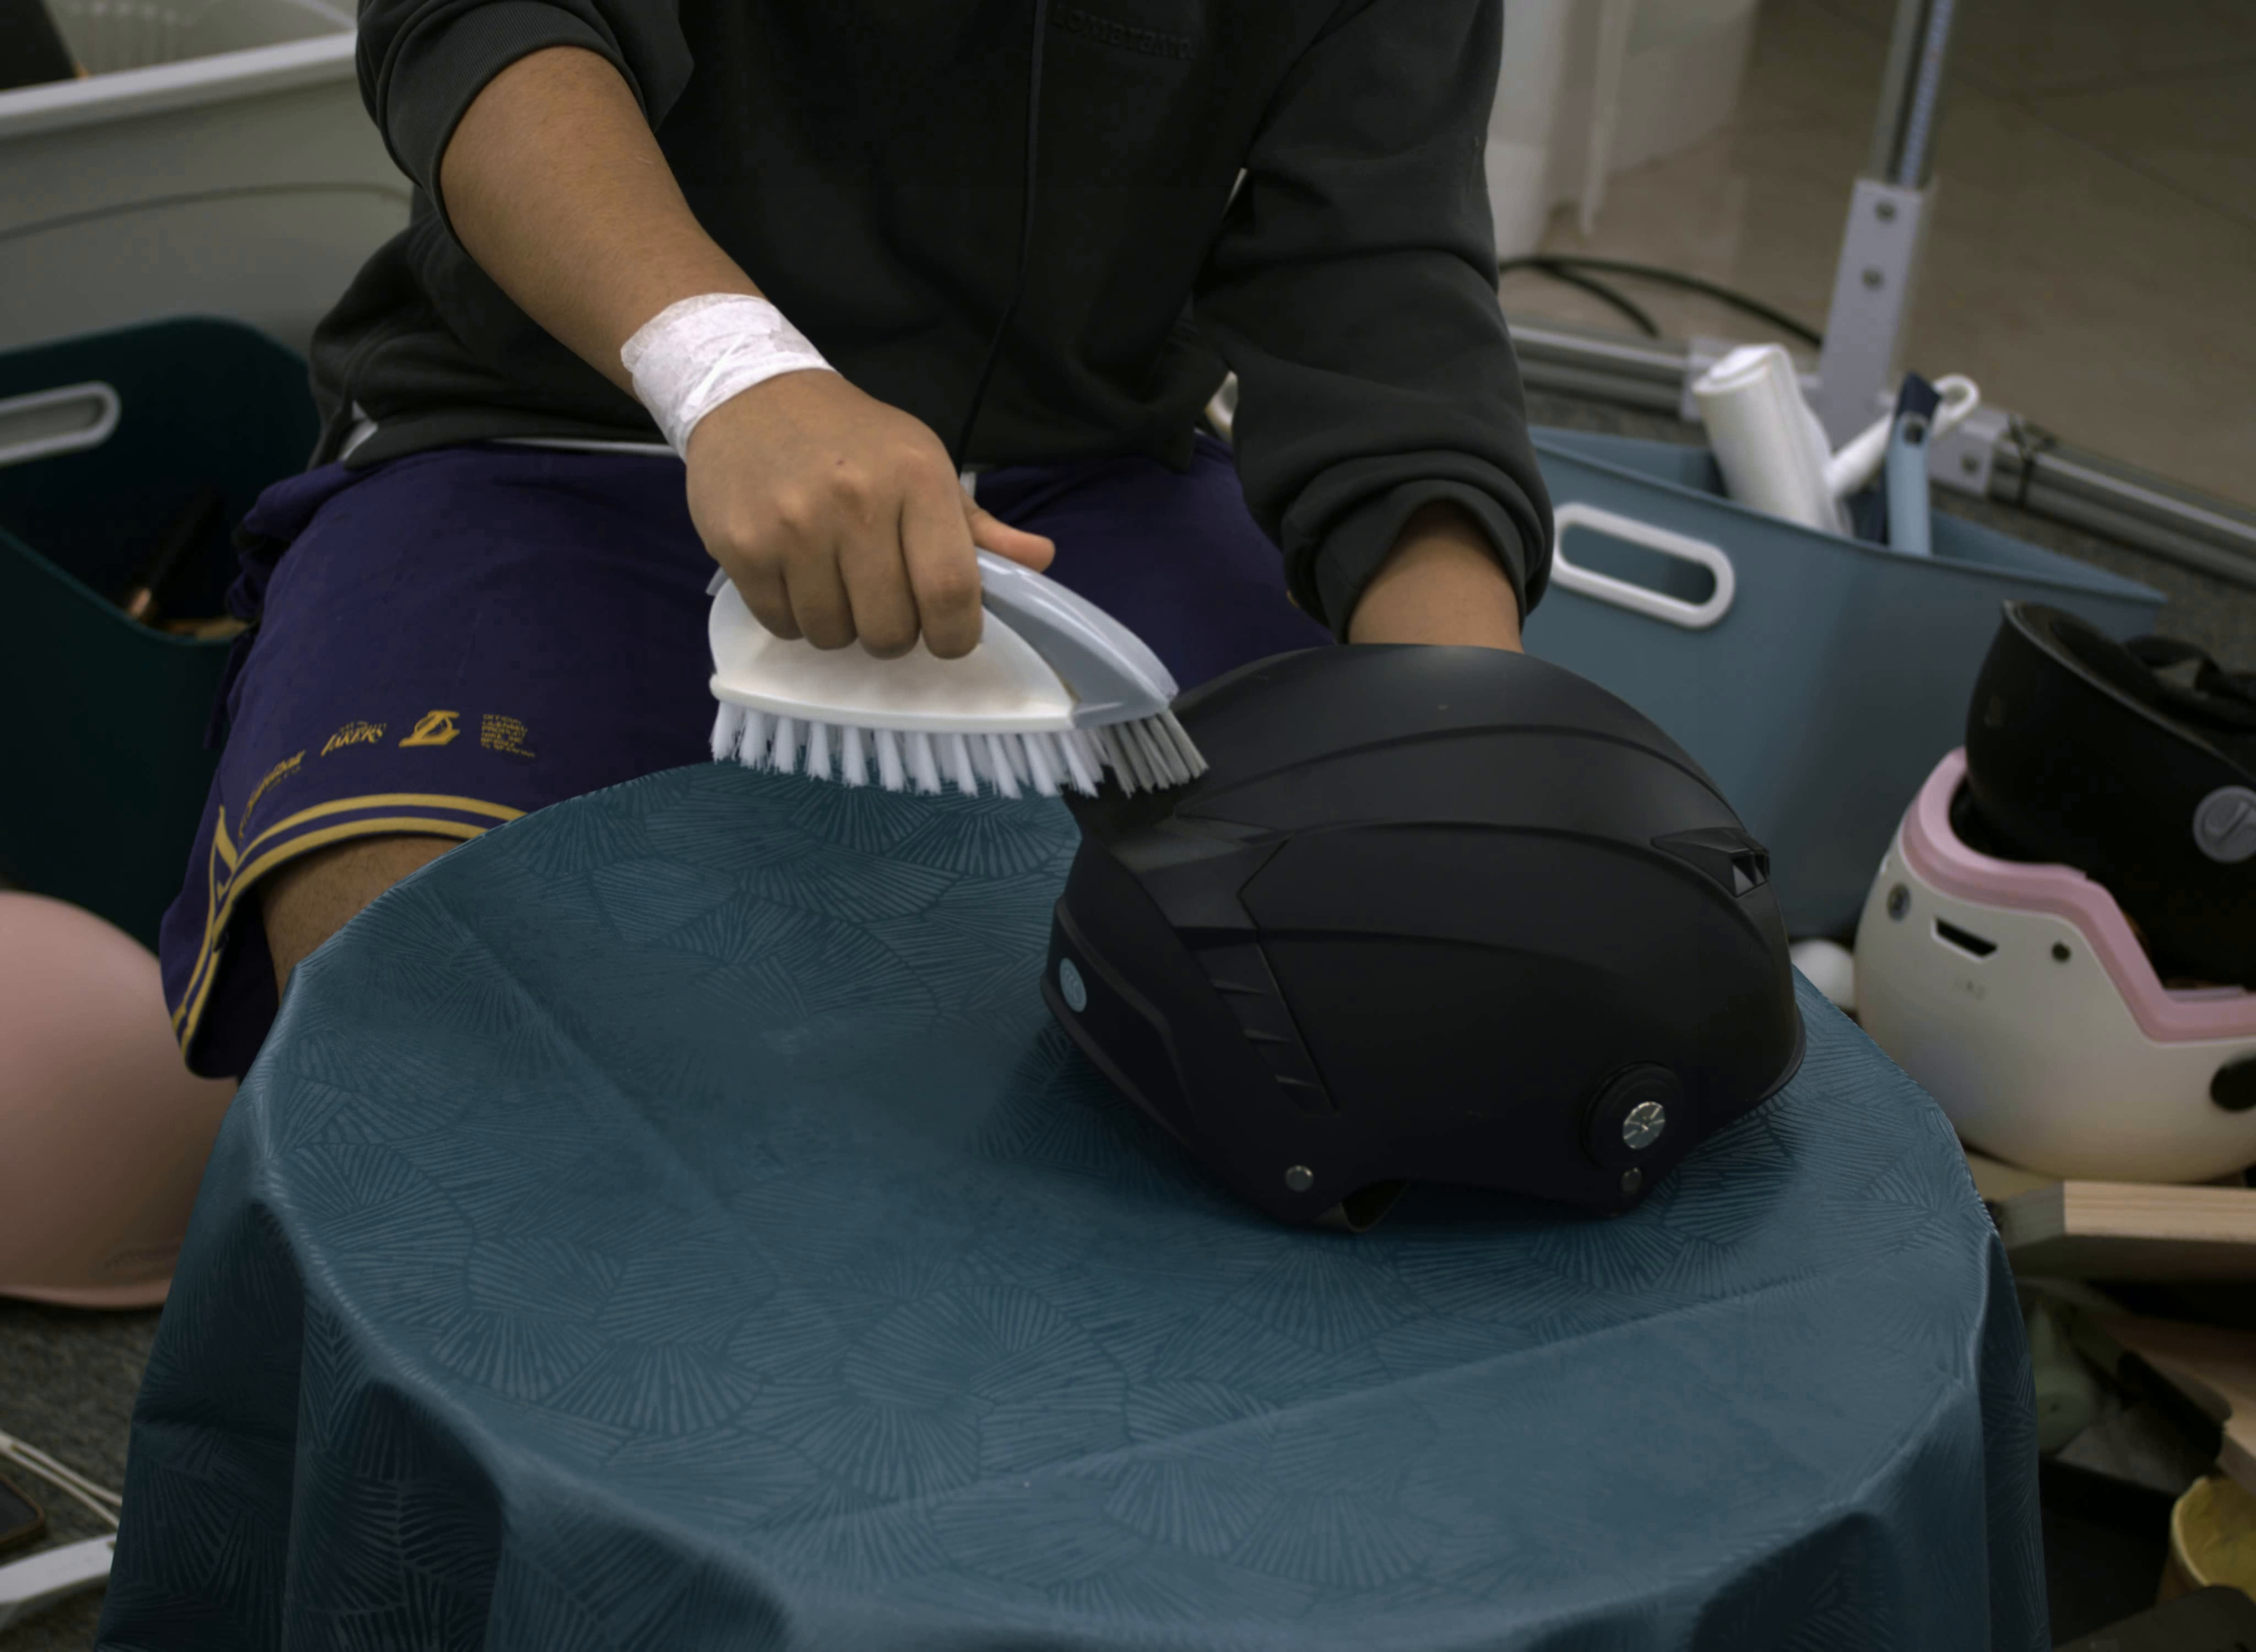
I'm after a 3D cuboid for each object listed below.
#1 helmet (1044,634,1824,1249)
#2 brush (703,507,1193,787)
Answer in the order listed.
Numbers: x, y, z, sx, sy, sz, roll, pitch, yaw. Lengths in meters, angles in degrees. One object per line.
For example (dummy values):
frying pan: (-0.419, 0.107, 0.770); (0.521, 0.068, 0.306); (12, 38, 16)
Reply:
helmet: (0.106, 0.022, 1.851); (0.275, 0.172, 0.249); (-9, 31, -19)
brush: (-0.064, -0.063, 1.793); (0.176, 0.093, 0.061); (11, 46, 22)
